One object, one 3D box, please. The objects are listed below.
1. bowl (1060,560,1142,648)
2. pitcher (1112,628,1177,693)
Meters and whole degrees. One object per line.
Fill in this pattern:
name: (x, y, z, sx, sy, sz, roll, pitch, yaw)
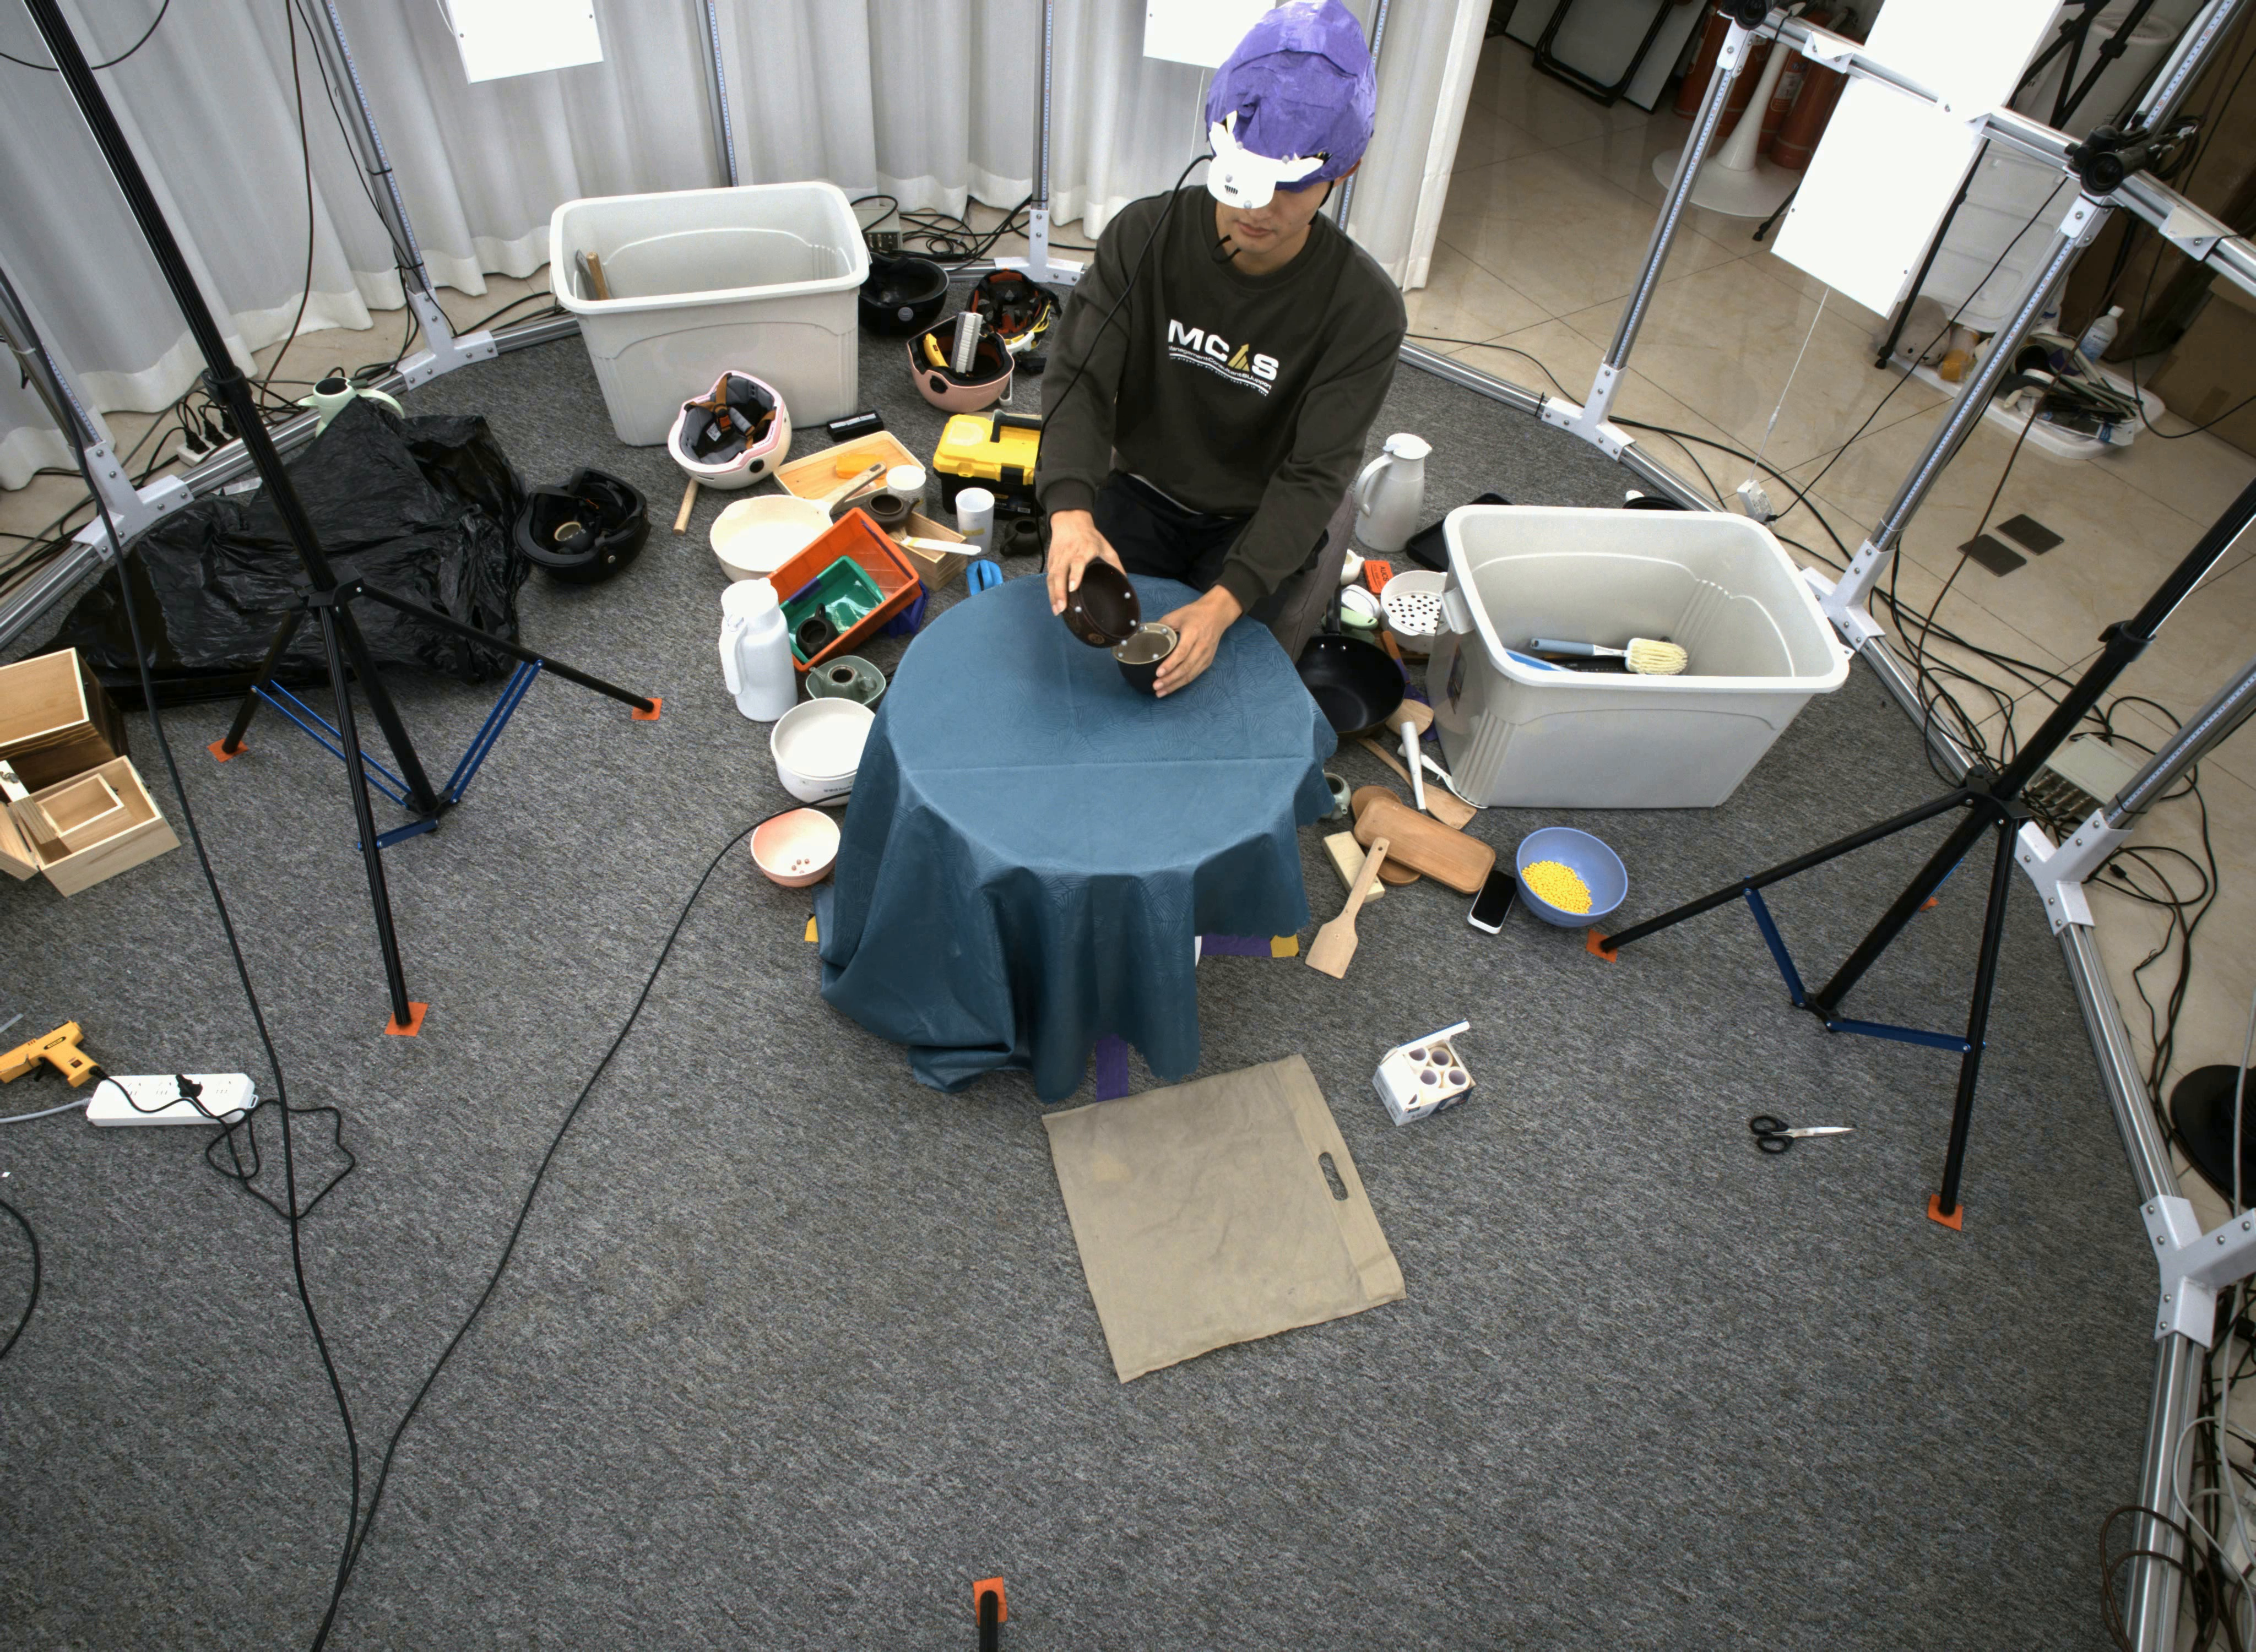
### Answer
bowl: (-0.046, -0.301, 1.779, 0.116, 0.069, 0.120, 22, 55, -35)
pitcher: (0.026, -0.231, 1.815, 0.096, 0.069, 0.085, 12, 51, 27)
